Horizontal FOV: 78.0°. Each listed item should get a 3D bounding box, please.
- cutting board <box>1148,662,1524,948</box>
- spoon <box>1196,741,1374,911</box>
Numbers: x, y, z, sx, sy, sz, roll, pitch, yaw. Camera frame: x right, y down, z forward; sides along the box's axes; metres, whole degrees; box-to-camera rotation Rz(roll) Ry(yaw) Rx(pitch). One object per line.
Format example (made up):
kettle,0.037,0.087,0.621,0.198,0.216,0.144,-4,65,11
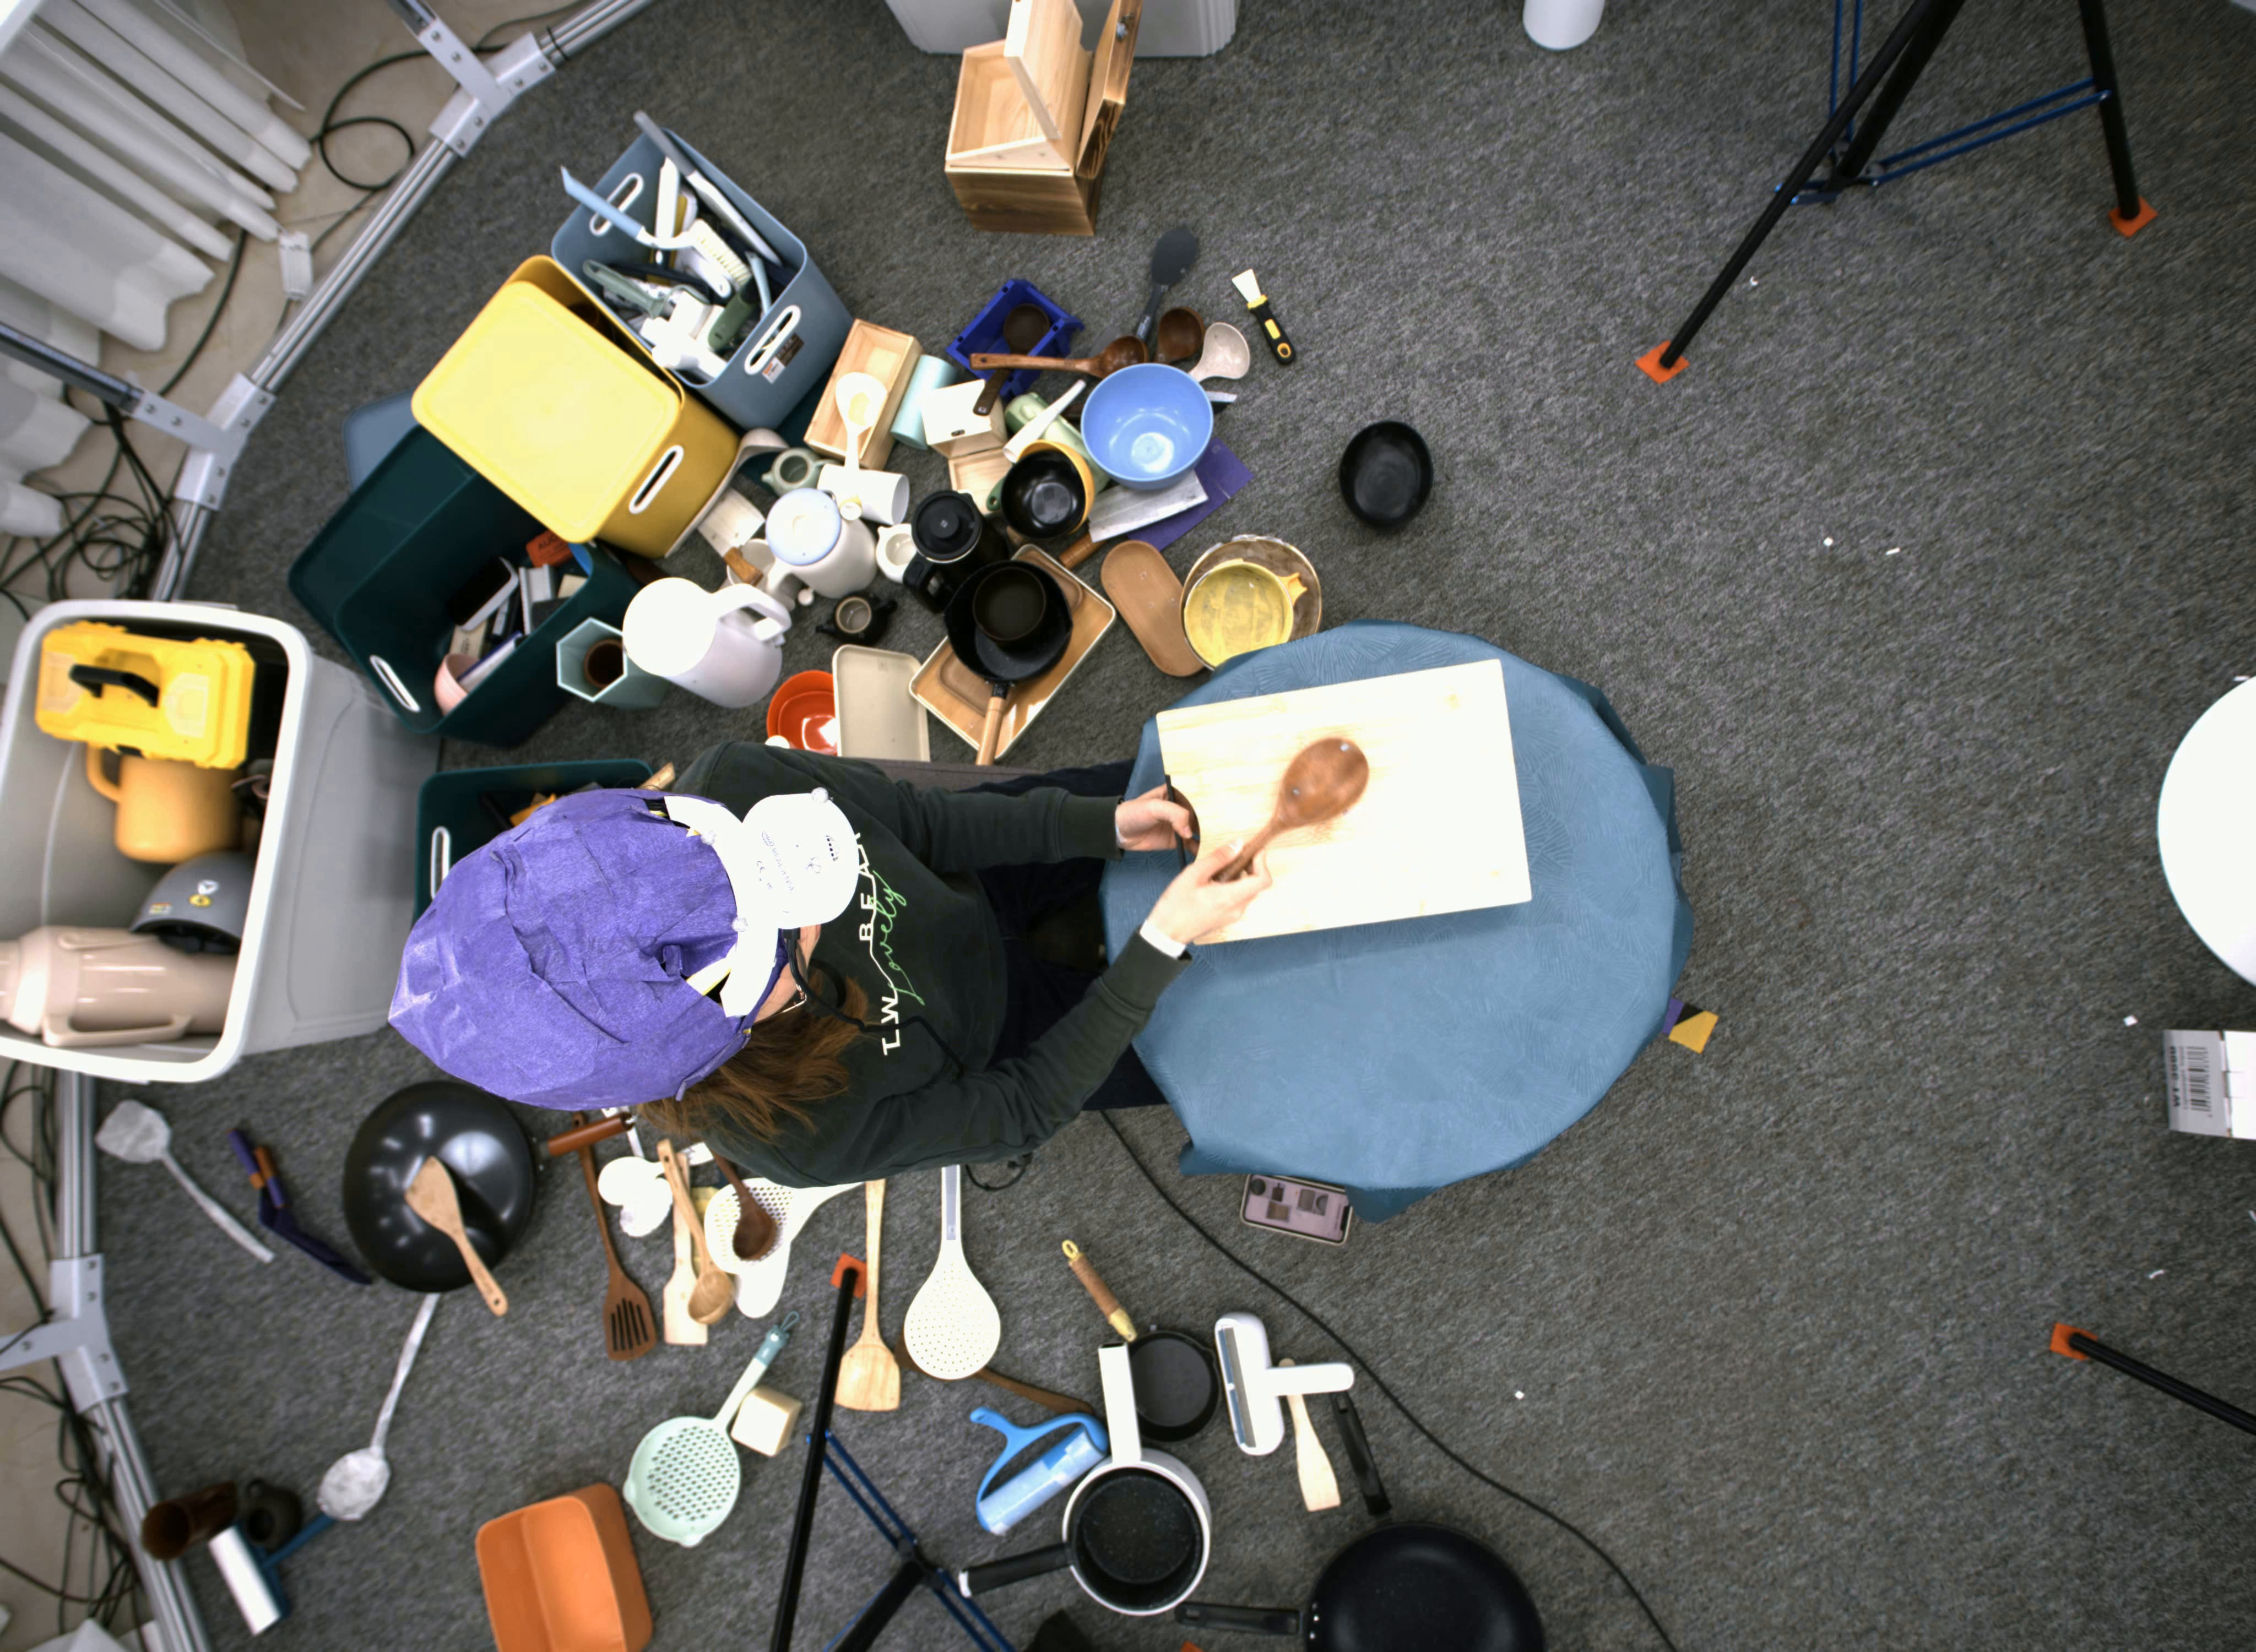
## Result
cutting board,0.210,-0.019,1.377,0.350,0.023,0.252,-9,97,10
spoon,0.148,0.003,1.335,0.216,0.017,0.075,-43,81,5
